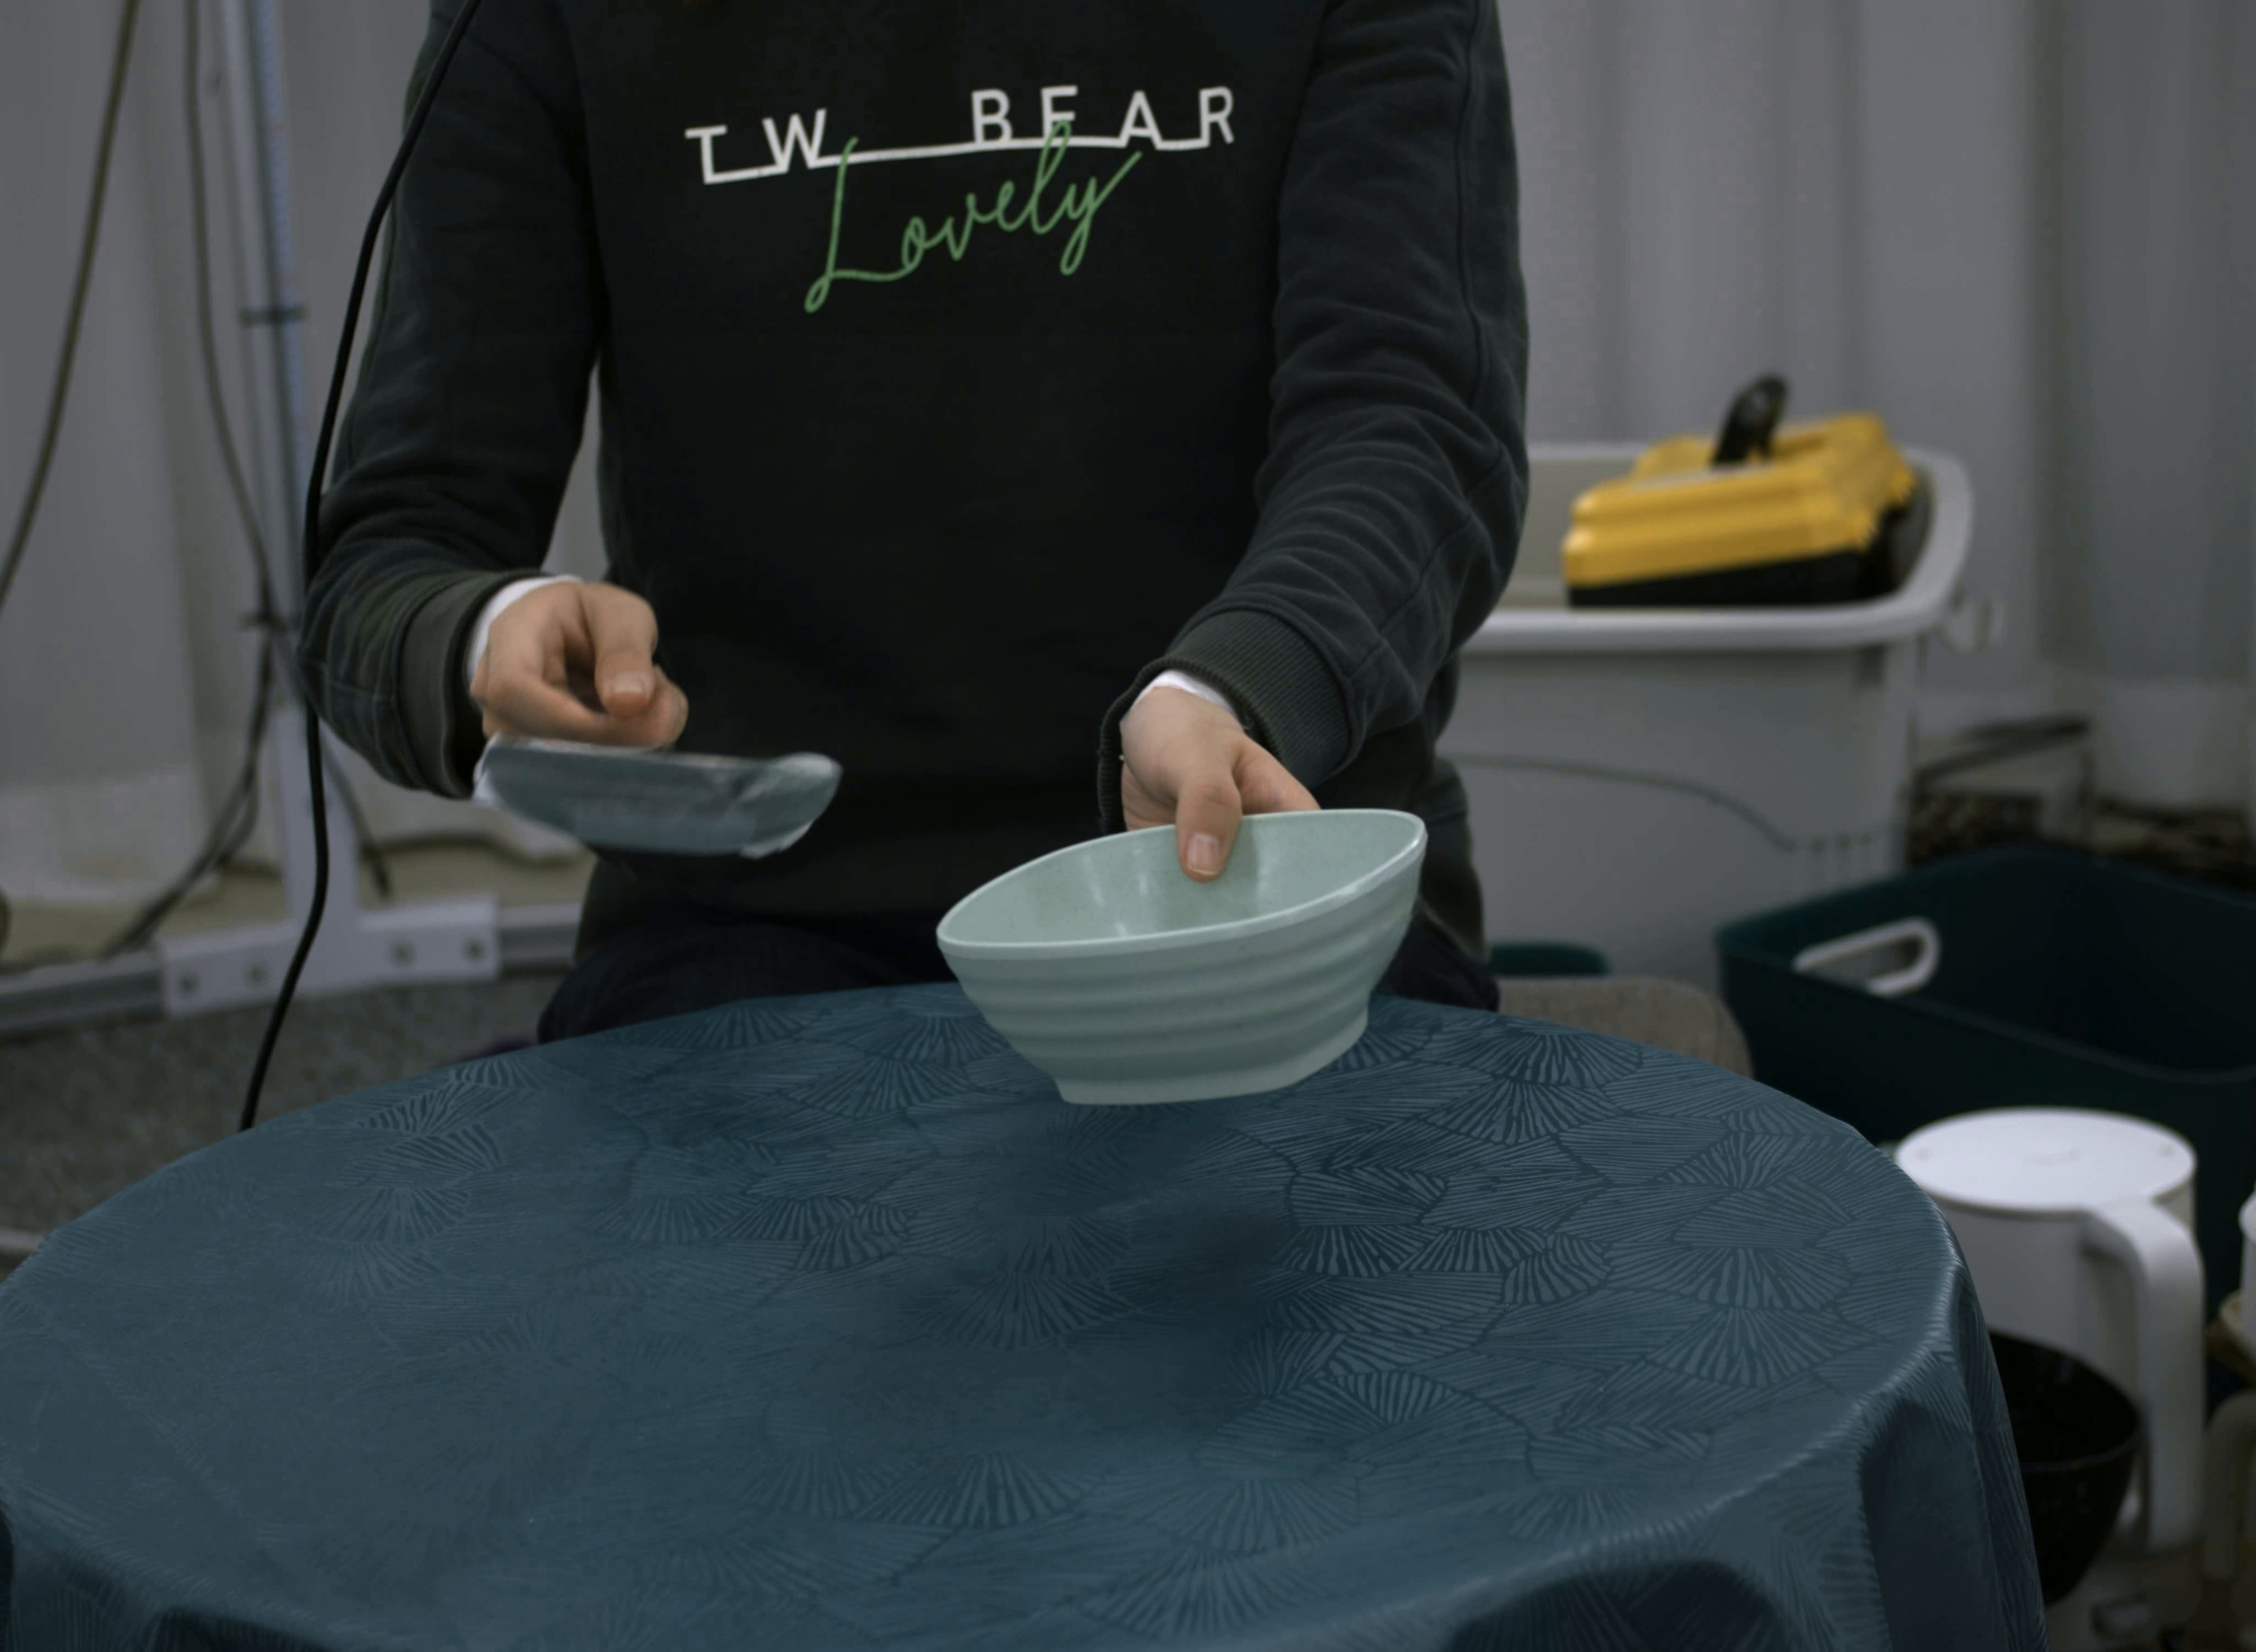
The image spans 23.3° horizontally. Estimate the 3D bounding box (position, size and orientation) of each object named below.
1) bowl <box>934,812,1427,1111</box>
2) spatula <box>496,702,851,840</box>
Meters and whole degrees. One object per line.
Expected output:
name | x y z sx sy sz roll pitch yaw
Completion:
bowl | 0.020 0.043 1.609 0.151 0.058 0.152 -9 14 2
spatula | -0.143 -0.029 1.659 0.098 0.045 0.366 3 7 -7
